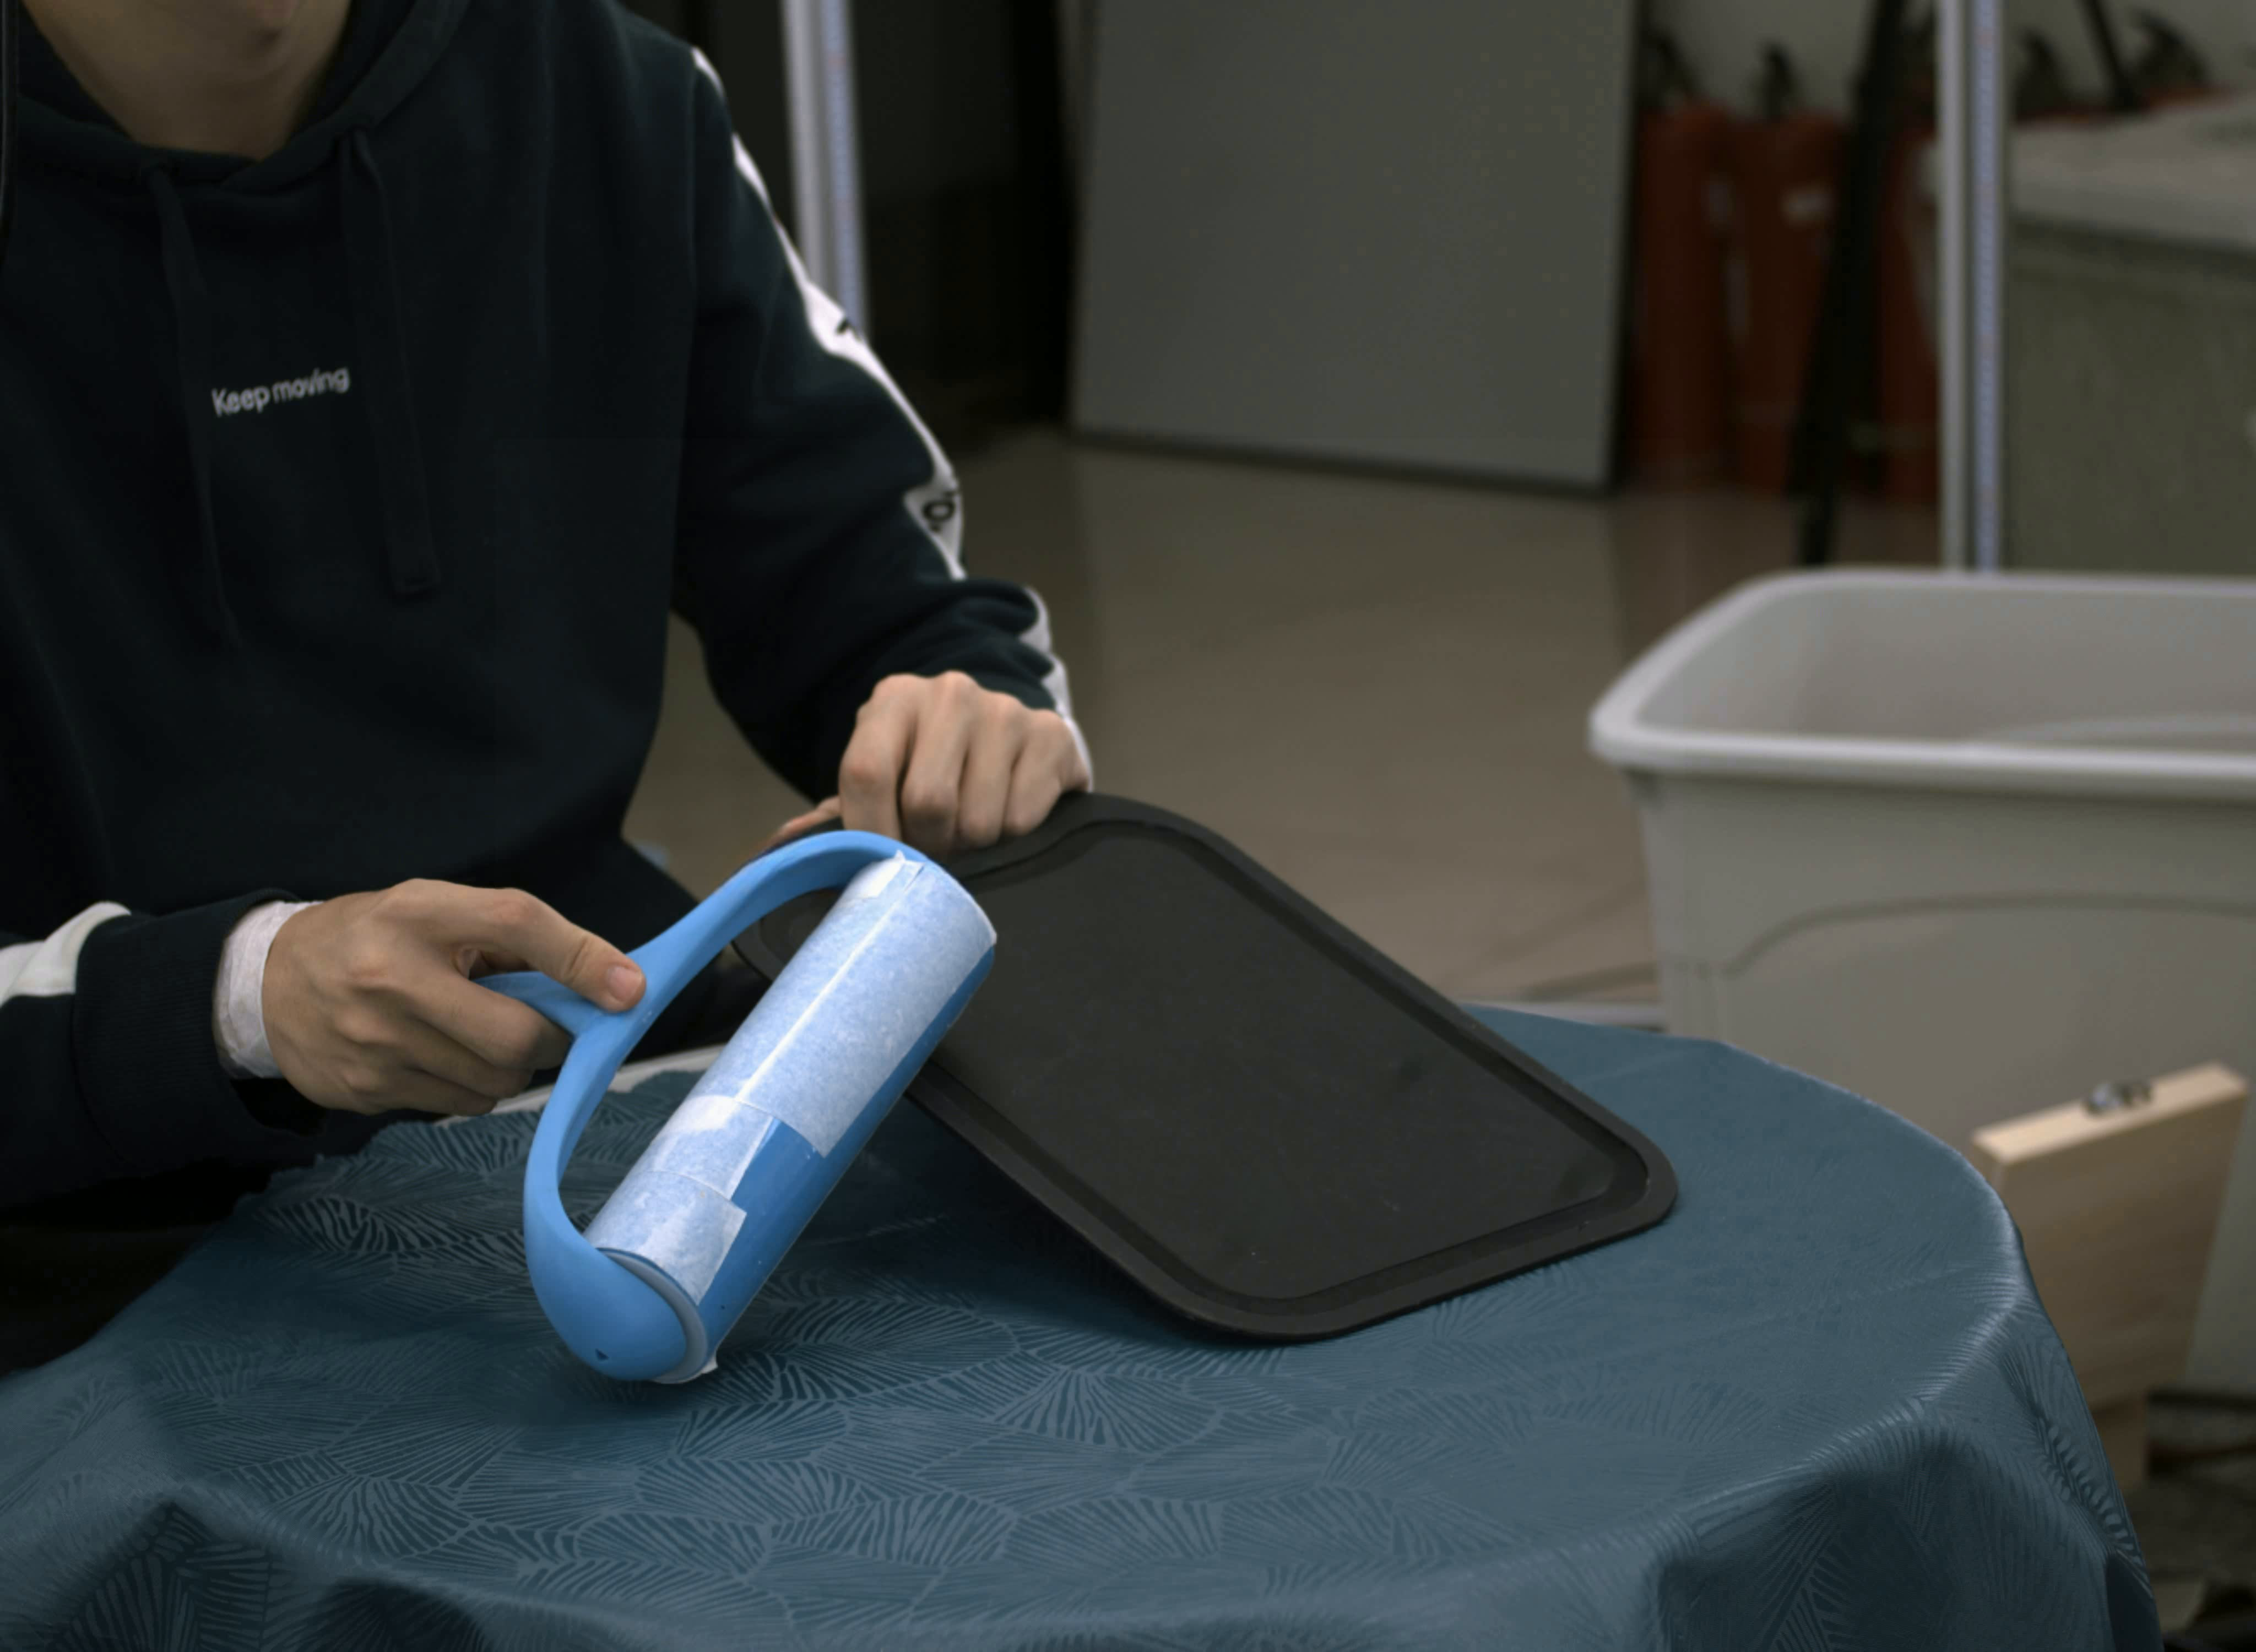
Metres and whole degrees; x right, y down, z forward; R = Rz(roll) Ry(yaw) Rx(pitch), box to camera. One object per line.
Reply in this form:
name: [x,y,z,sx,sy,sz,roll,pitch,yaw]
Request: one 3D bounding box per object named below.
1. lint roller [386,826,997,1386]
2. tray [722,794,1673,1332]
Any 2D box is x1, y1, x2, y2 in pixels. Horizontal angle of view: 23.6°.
lint roller: [-0.159,0.076,1.690,0.180,0.068,0.228,11,43,21]
tray: [0.014,0.067,1.764,0.206,0.010,0.329,-13,35,-36]
